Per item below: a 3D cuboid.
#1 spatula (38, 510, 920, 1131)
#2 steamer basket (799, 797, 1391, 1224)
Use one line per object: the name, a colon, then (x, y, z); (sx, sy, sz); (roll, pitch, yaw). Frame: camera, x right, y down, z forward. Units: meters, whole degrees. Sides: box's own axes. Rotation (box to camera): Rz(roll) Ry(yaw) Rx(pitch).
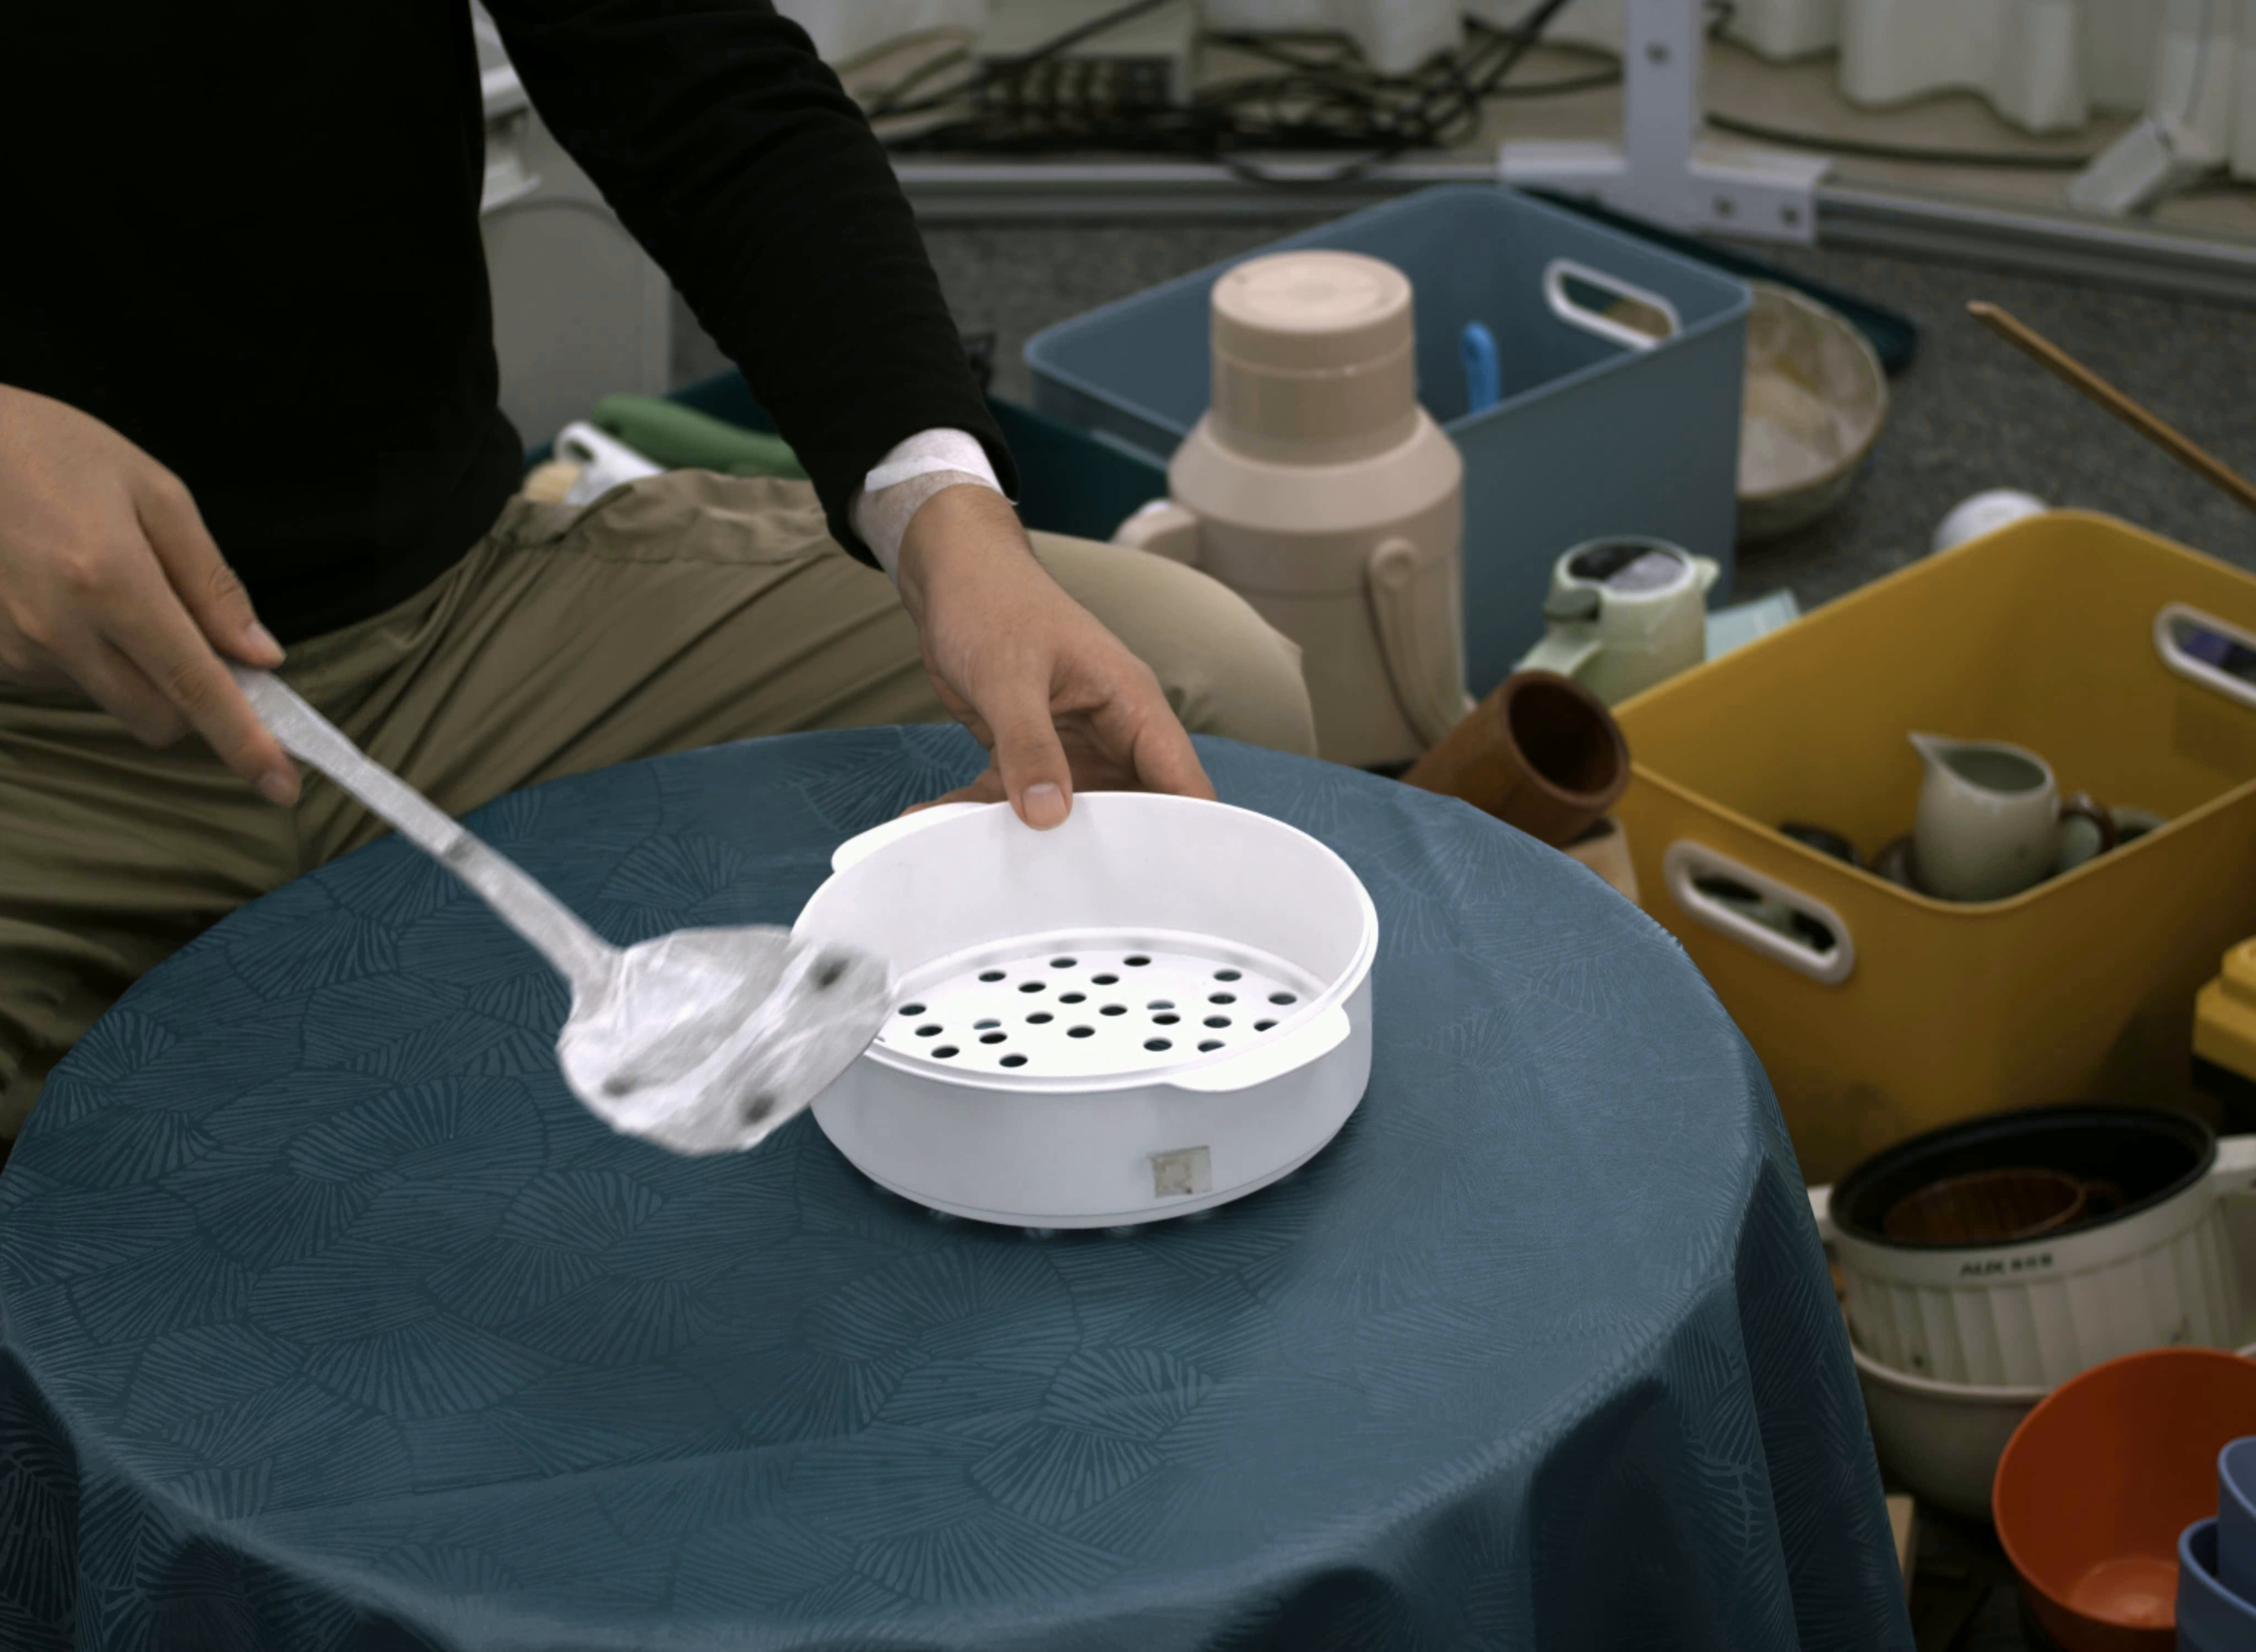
spatula: (-0.225, -0.014, 1.796); (0.365, 0.044, 0.100); (34, 57, 20)
steamer basket: (-0.011, 0.063, 1.897); (0.203, 0.068, 0.231); (-19, 32, -32)
